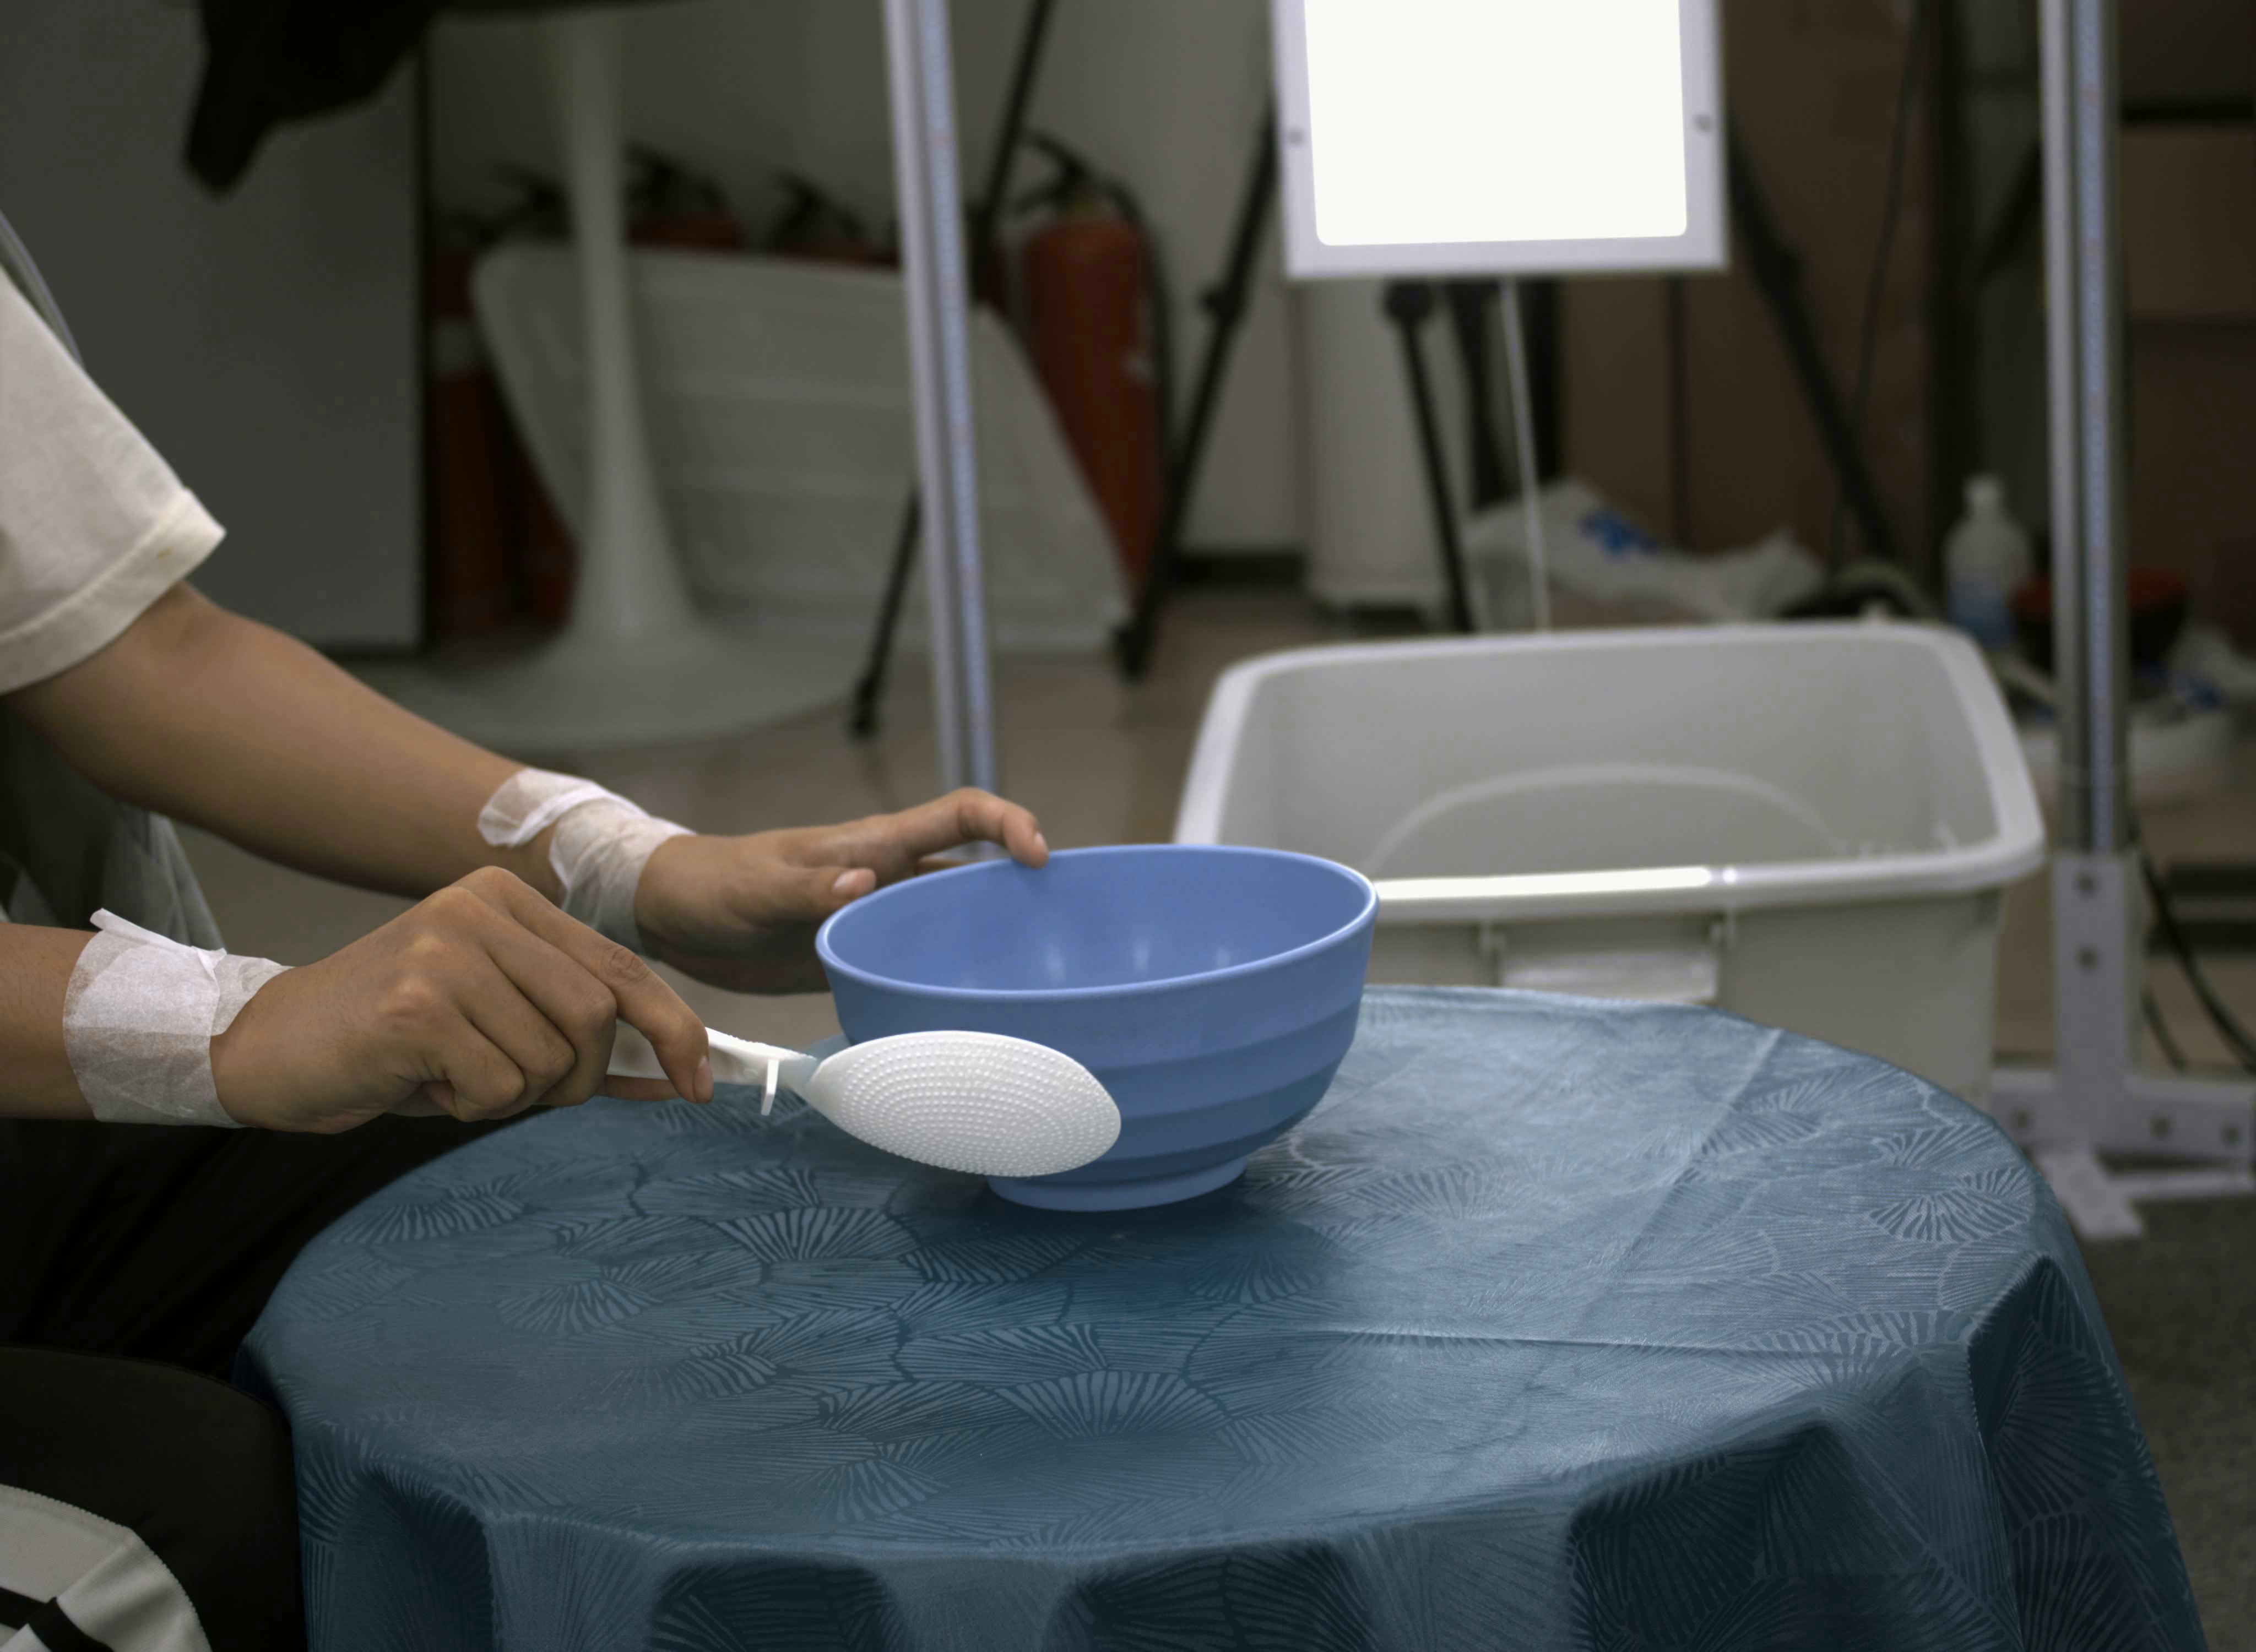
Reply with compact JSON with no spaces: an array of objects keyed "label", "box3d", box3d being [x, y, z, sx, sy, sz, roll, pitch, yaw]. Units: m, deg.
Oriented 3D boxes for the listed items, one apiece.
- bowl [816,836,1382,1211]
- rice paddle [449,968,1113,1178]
[{"label":"bowl","box3d":[-0.008,0.074,1.911,0.196,0.096,0.196,-4,15,0]},{"label":"rice paddle","box3d":[-0.104,0.075,1.685,0.204,0.069,0.029,10,49,-6]}]
